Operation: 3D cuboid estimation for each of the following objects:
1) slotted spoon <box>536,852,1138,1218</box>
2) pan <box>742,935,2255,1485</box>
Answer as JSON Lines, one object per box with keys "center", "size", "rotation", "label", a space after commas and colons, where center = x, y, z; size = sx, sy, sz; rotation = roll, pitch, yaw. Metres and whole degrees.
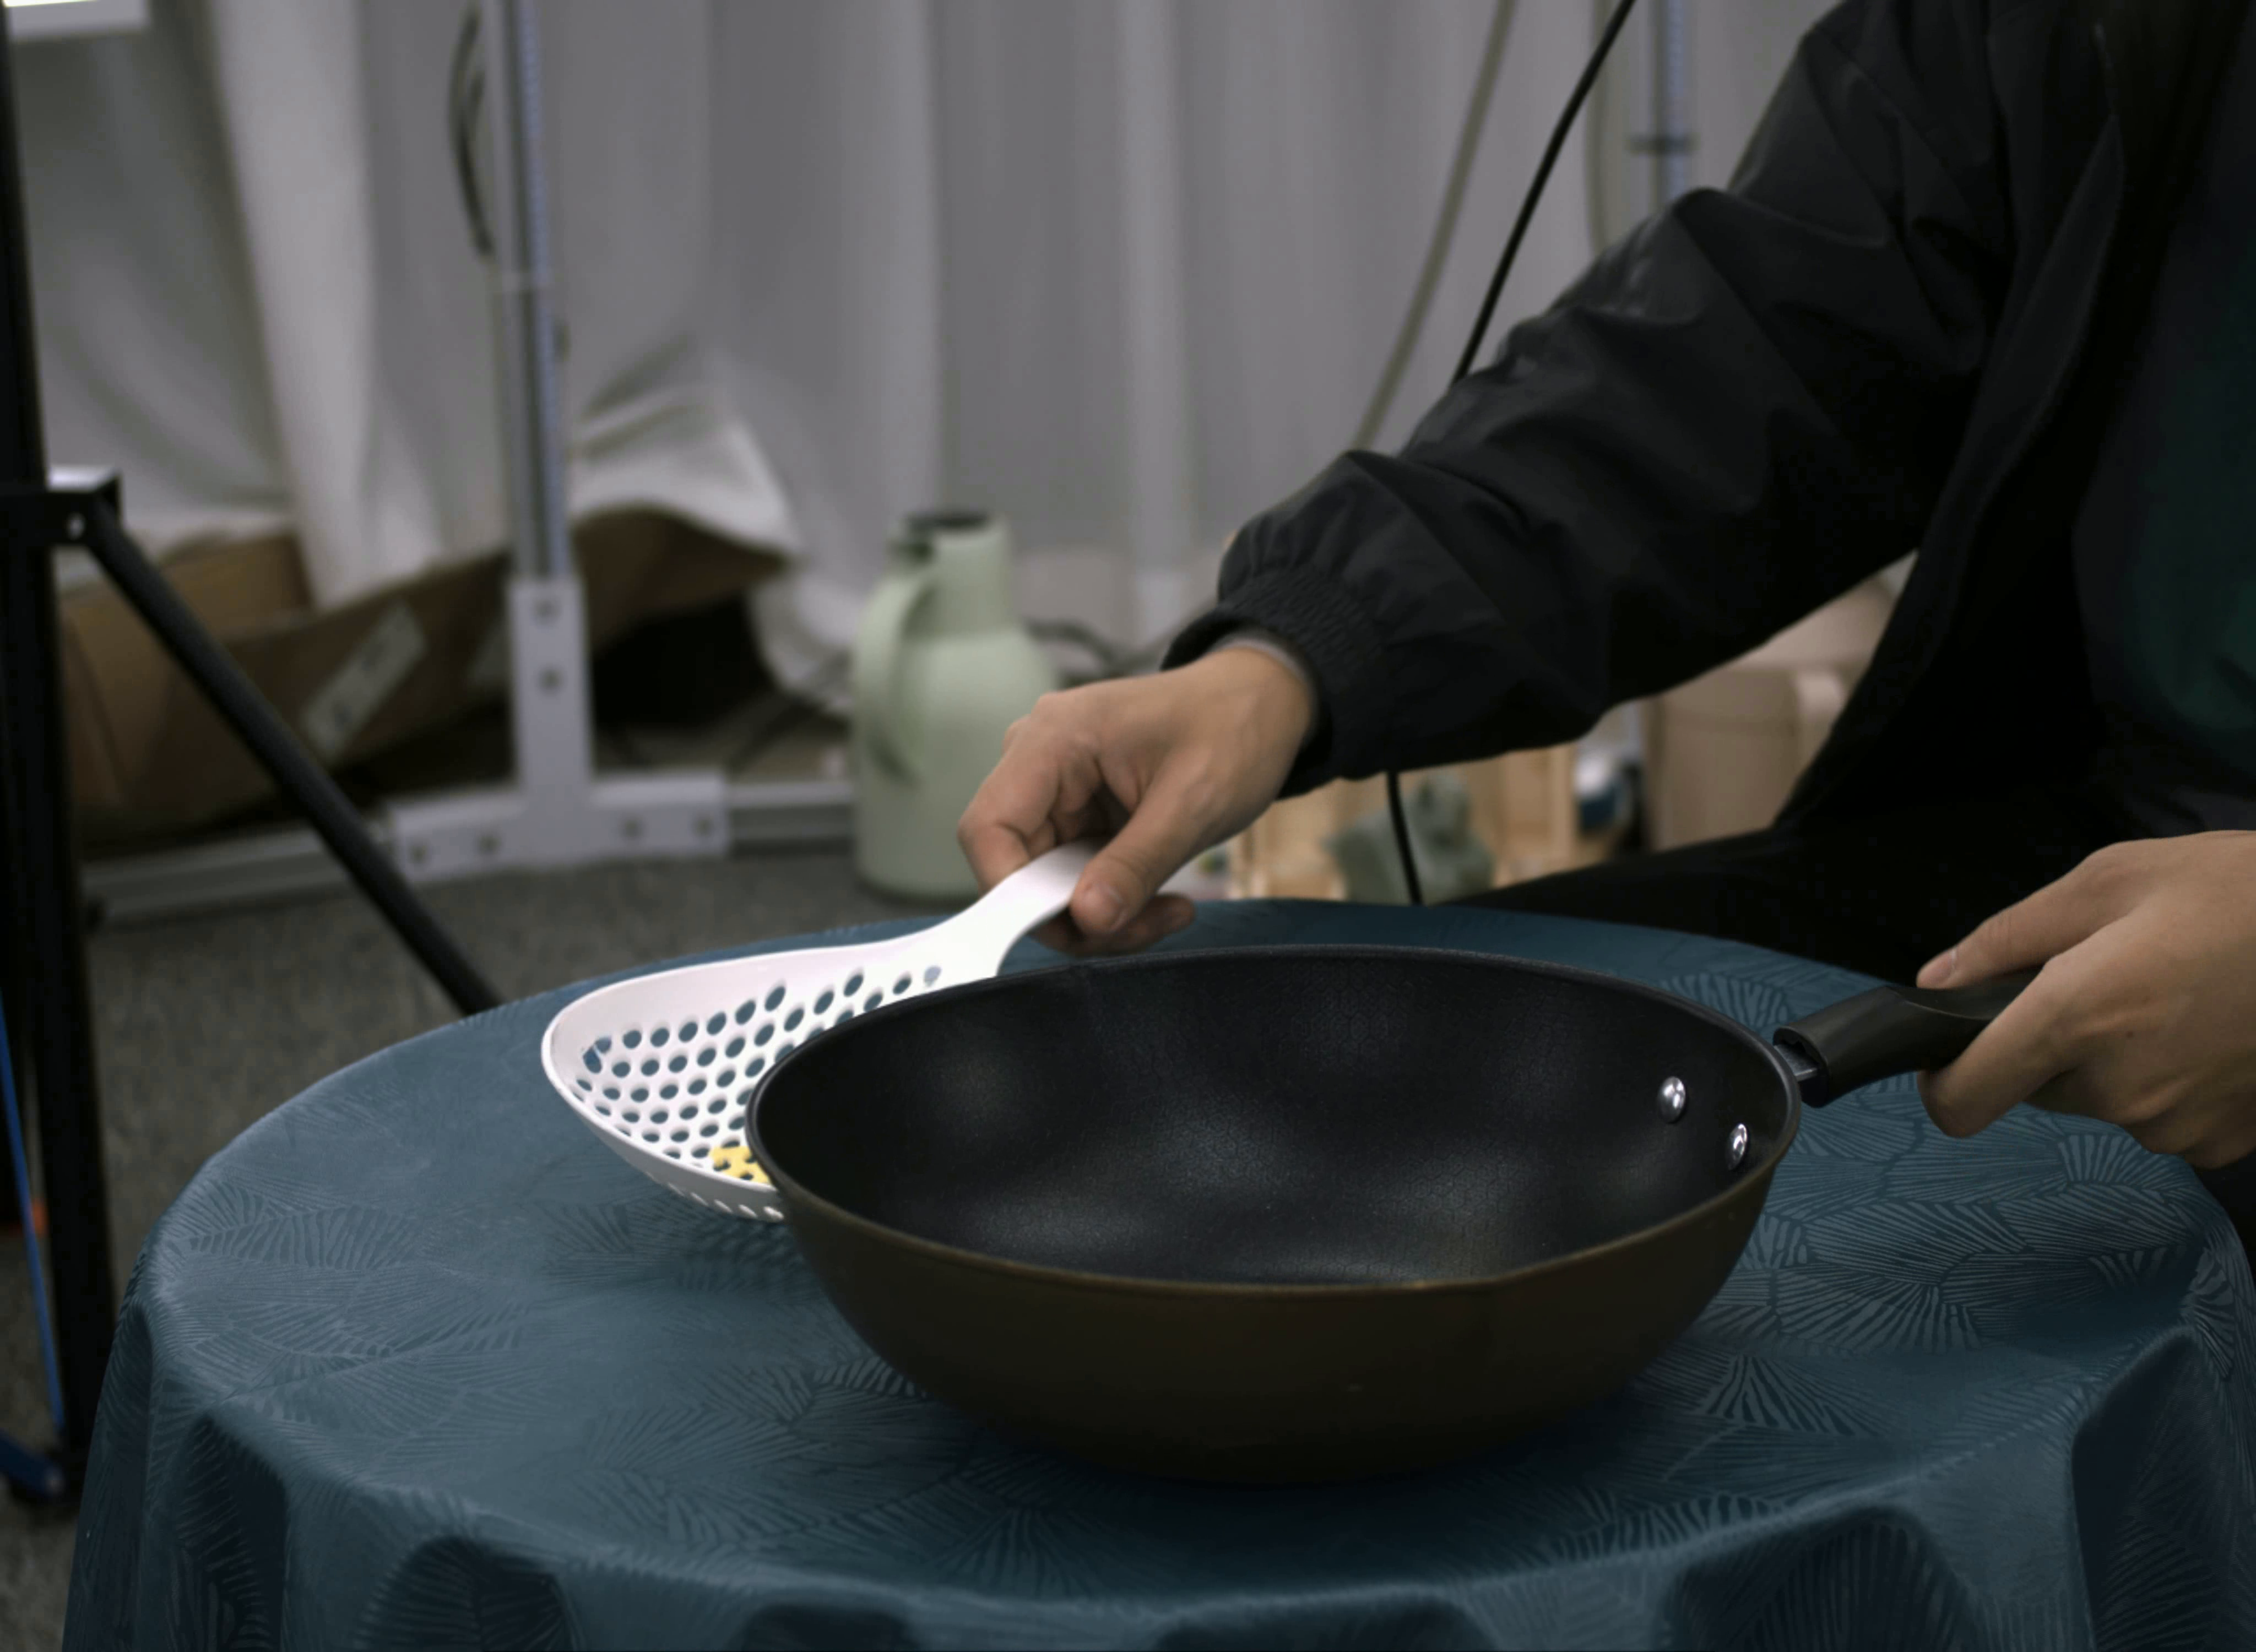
{"center": [-0.061, 0.052, 1.654], "size": [0.138, 0.050, 0.343], "rotation": [18, 26, 19], "label": "slotted spoon"}
{"center": [0.123, 0.097, 1.428], "size": [0.455, 0.087, 0.293], "rotation": [-6, 16, -18], "label": "pan"}
